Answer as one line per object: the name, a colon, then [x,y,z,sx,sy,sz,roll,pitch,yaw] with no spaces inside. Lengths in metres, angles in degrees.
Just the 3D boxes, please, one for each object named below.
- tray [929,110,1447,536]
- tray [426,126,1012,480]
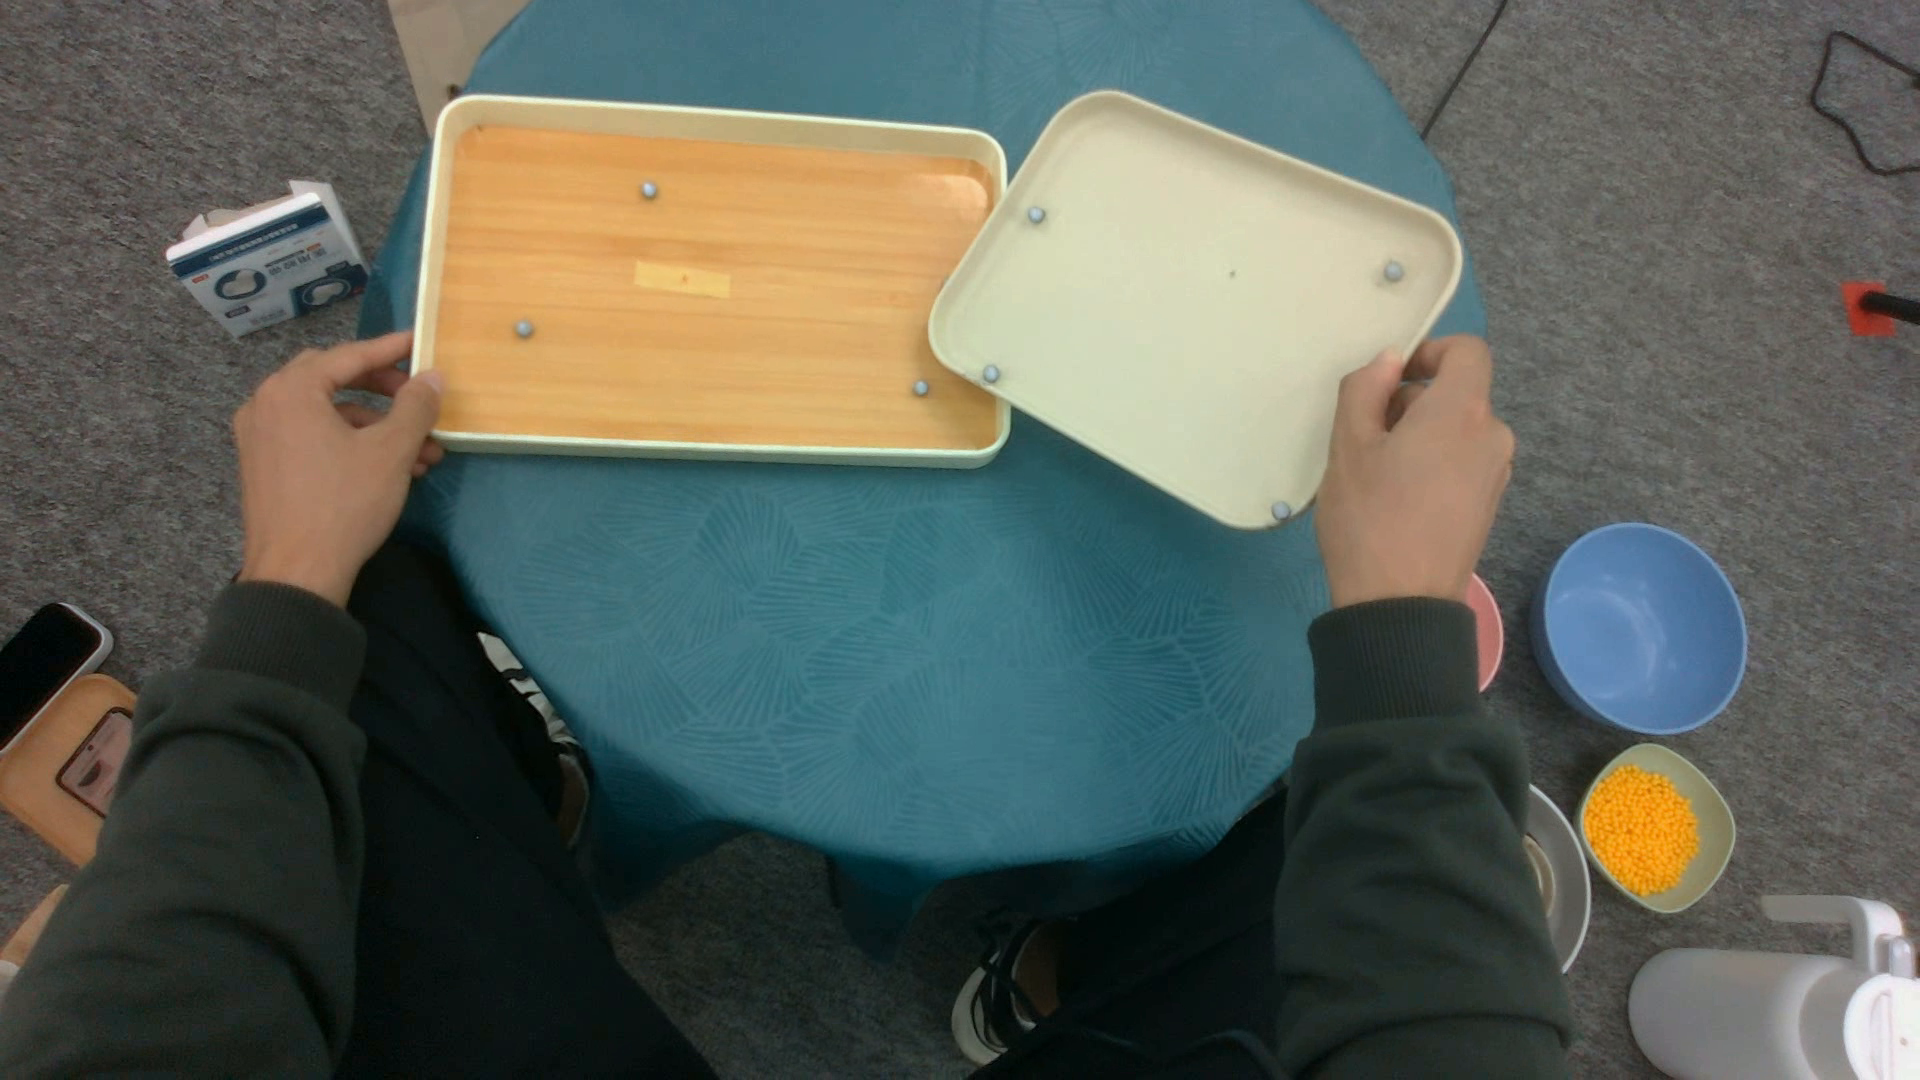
tray: [0.105,-0.115,0.690,0.240,0.017,0.171,32,89,32]
tray: [-0.124,-0.127,0.743,0.300,0.027,0.192,1,75,-7]
